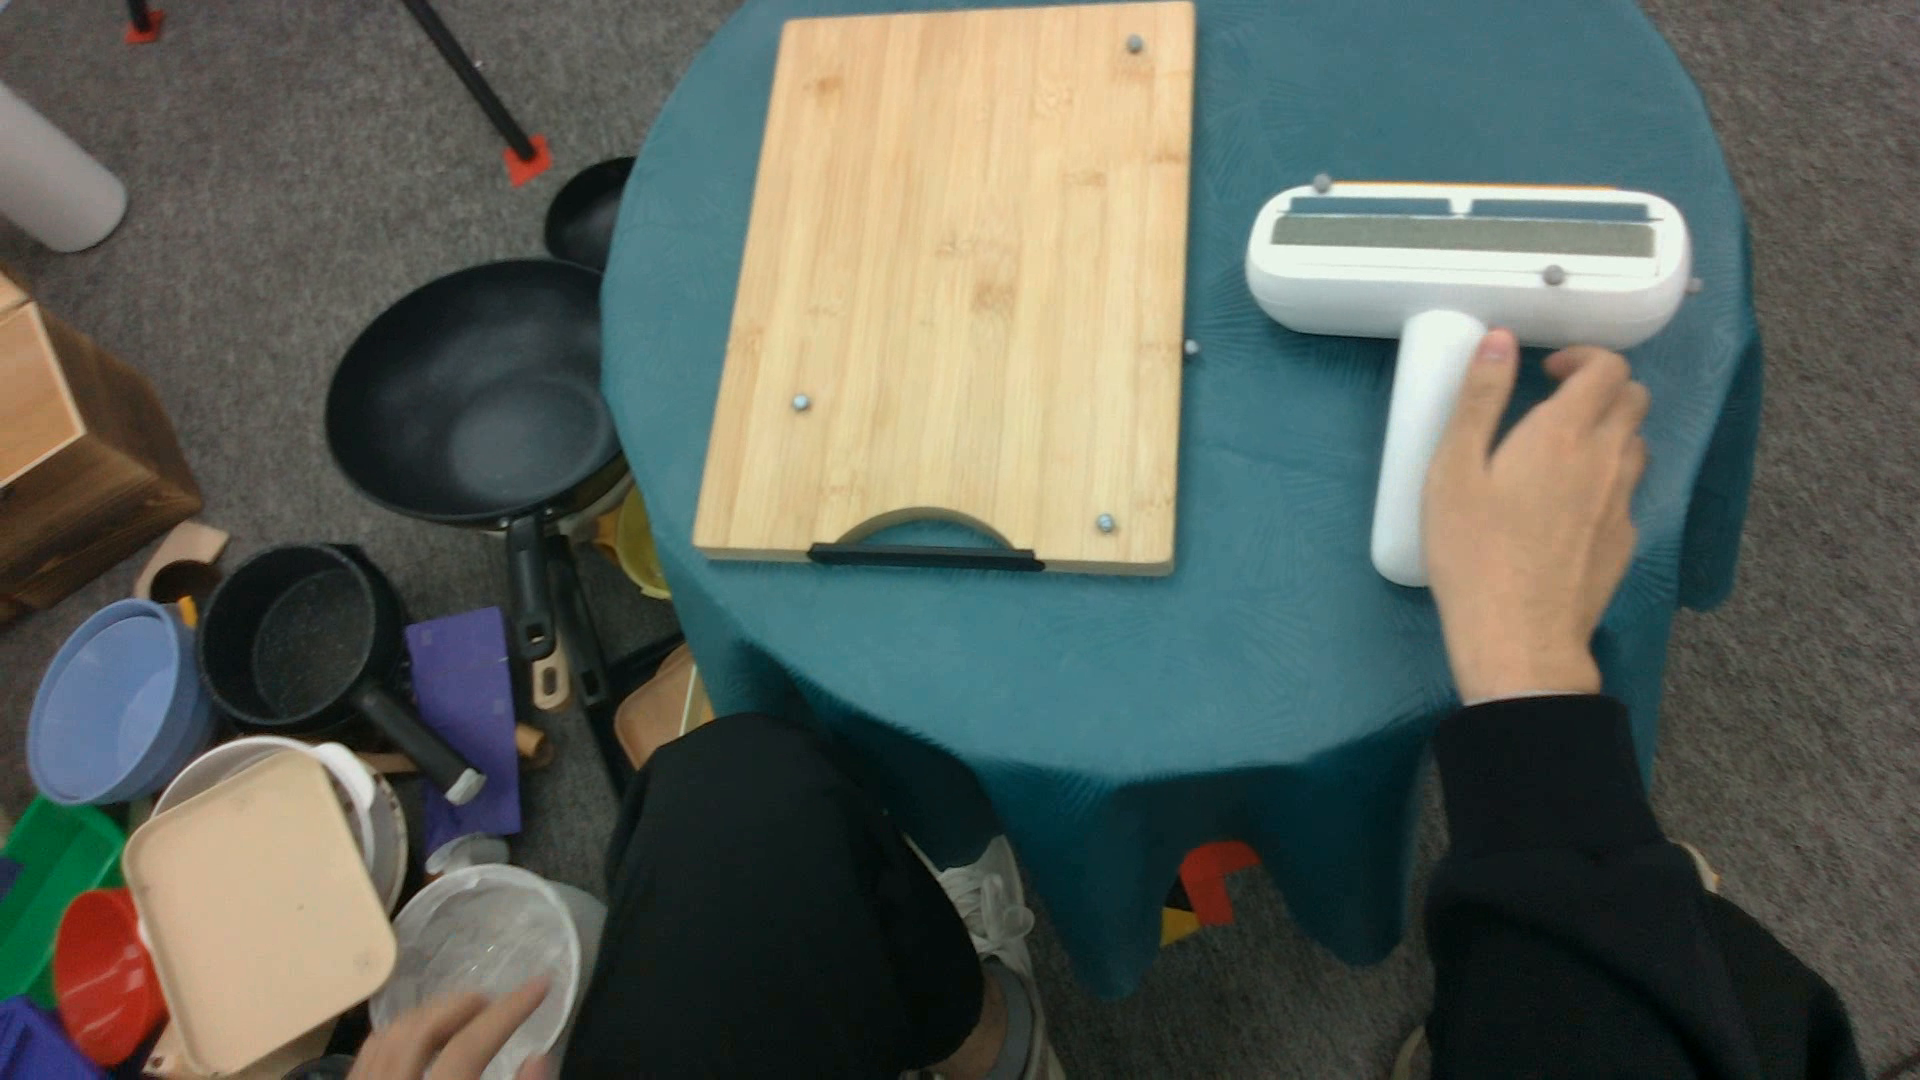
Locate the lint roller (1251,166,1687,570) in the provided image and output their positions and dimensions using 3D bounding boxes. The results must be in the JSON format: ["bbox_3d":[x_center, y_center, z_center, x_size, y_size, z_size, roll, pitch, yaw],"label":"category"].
[{"bbox_3d":[0.216,-0.081,0.638,0.192,0.074,0.193,14,72,21],"label":"lint roller"}]

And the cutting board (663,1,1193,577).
[{"bbox_3d":[-0.008,-0.149,0.734,0.250,0.023,0.350,2,67,11],"label":"cutting board"}]
